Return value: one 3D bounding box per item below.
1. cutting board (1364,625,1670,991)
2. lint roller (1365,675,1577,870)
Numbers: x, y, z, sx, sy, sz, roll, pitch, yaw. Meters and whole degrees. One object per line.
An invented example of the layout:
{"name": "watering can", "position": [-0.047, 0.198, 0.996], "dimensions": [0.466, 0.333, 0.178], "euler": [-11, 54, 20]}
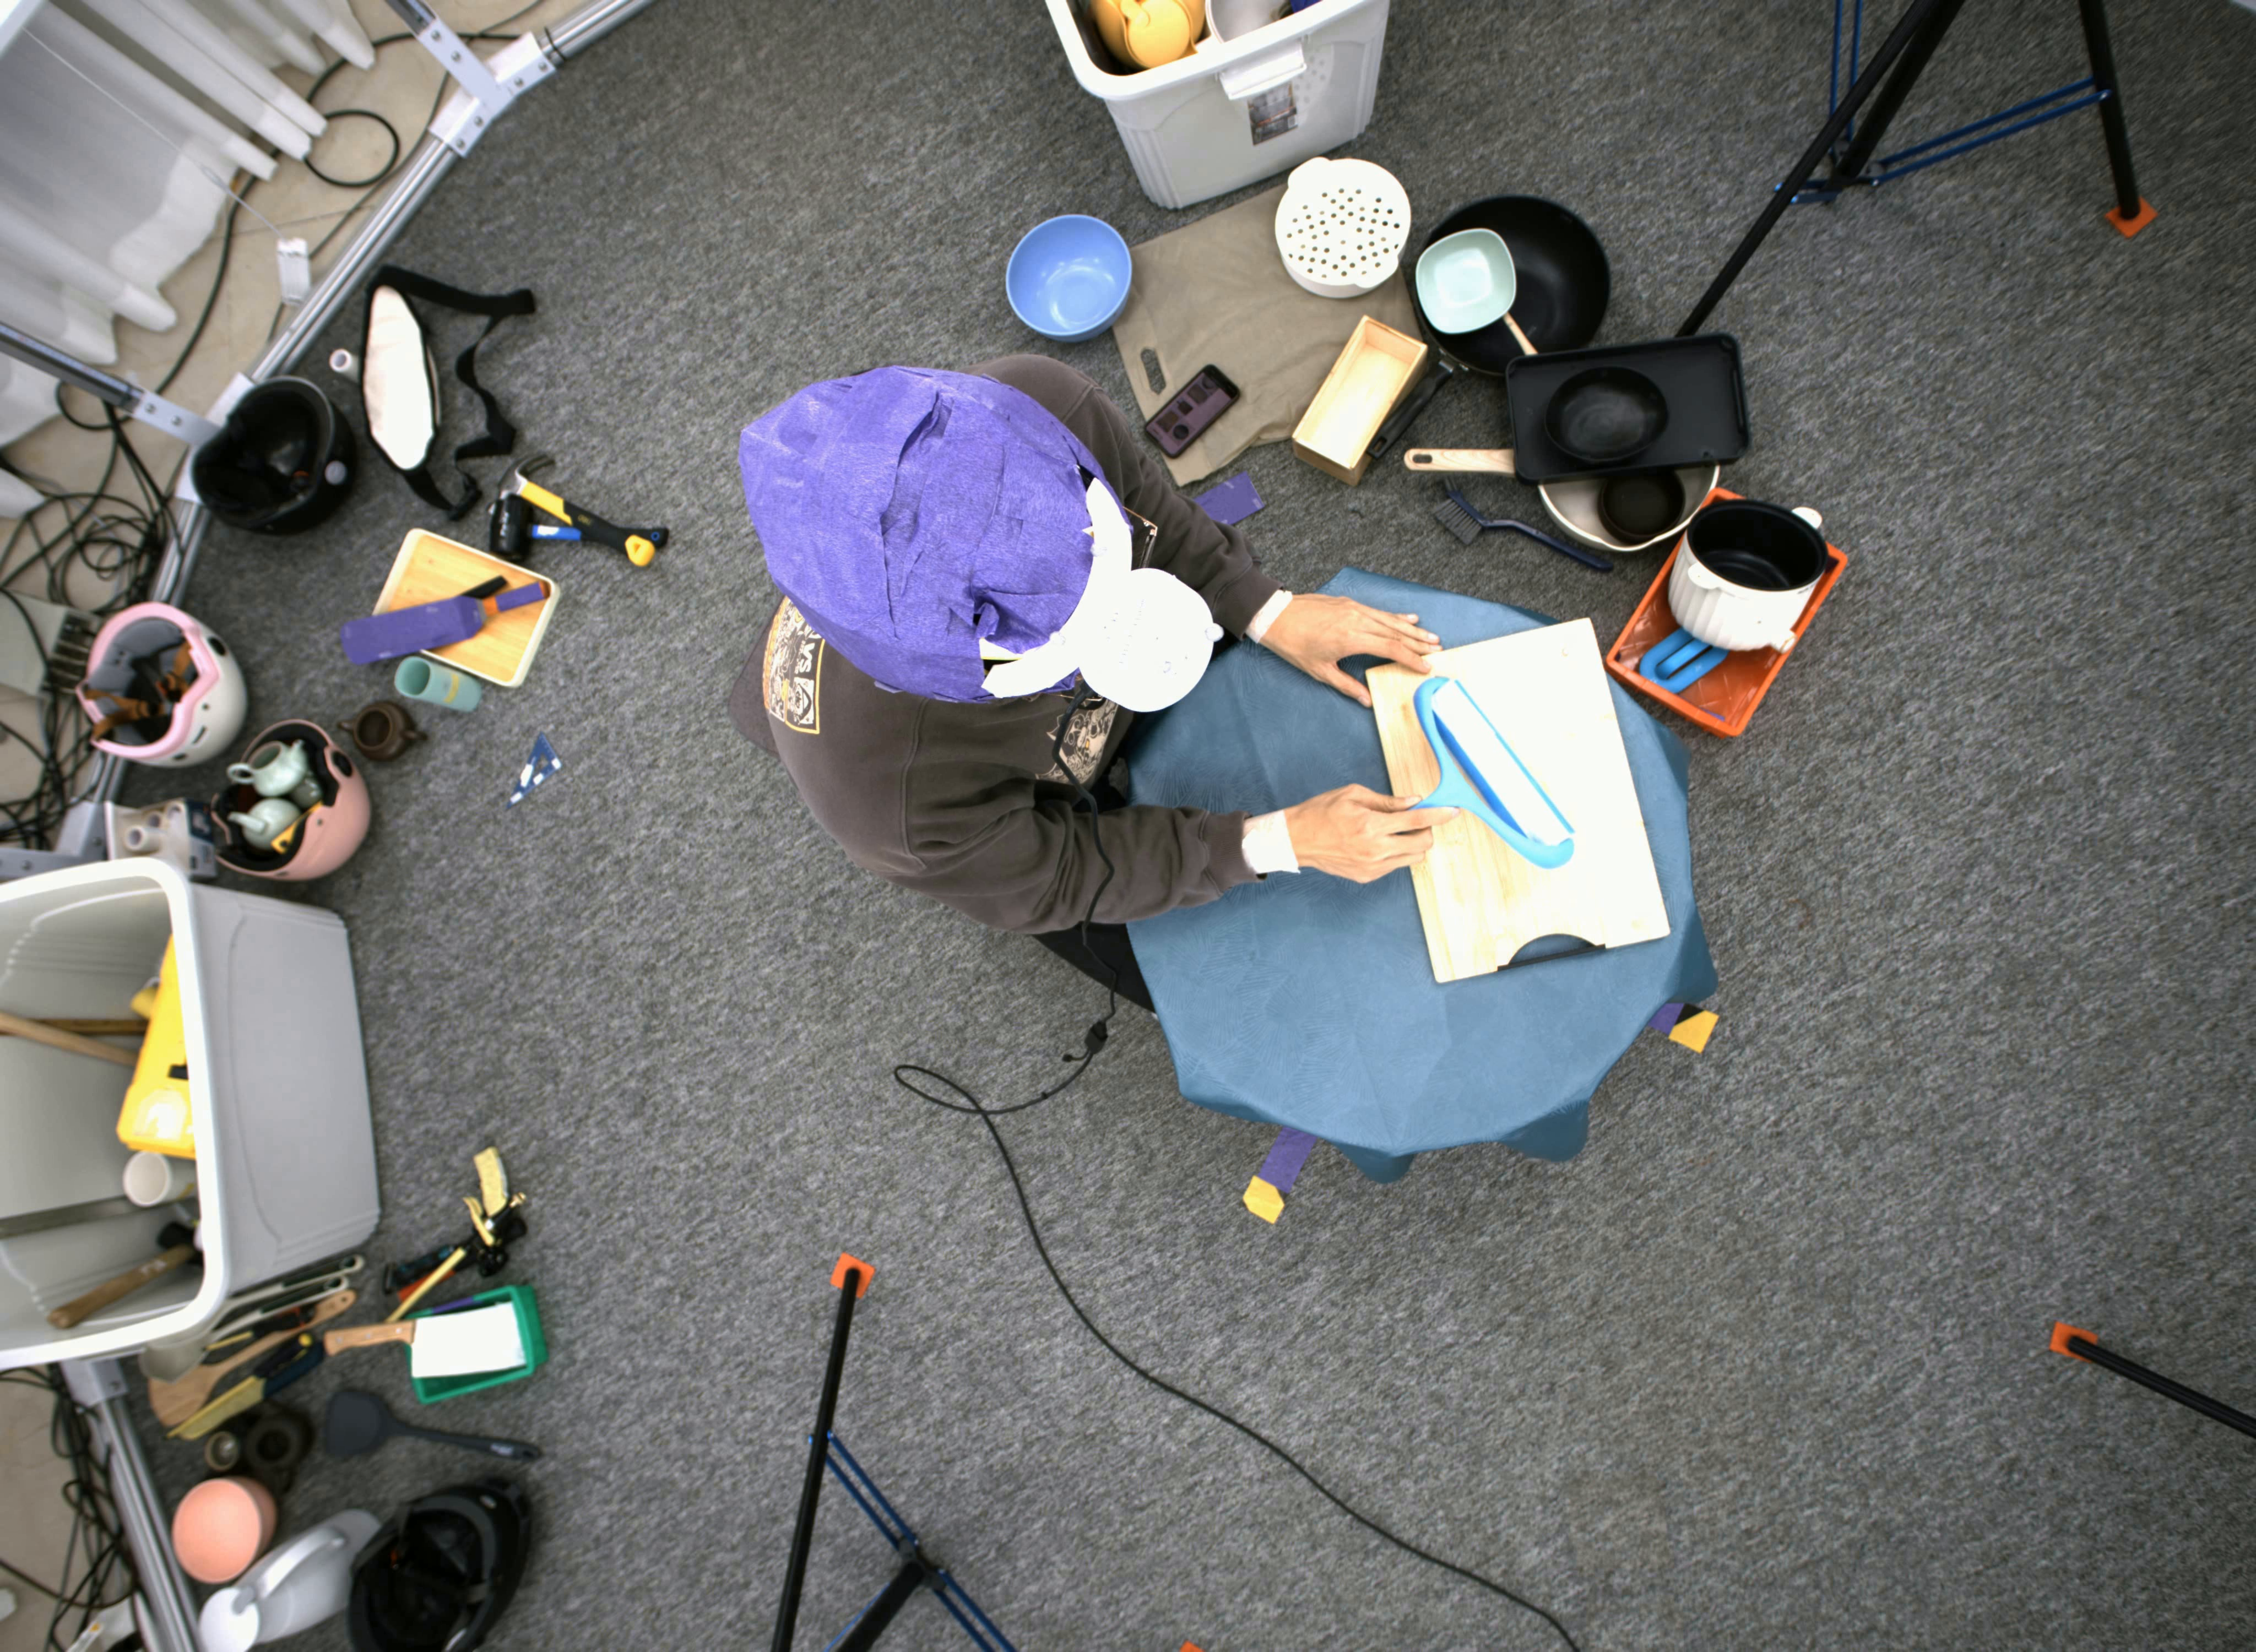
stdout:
{"name": "cutting board", "position": [0.402, -0.024, 1.430], "dimensions": [0.252, 0.023, 0.347], "euler": [-14, 85, 10]}
{"name": "lint roller", "position": [0.314, -0.026, 1.344], "dimensions": [0.179, 0.069, 0.227], "euler": [-33, 78, -11]}
